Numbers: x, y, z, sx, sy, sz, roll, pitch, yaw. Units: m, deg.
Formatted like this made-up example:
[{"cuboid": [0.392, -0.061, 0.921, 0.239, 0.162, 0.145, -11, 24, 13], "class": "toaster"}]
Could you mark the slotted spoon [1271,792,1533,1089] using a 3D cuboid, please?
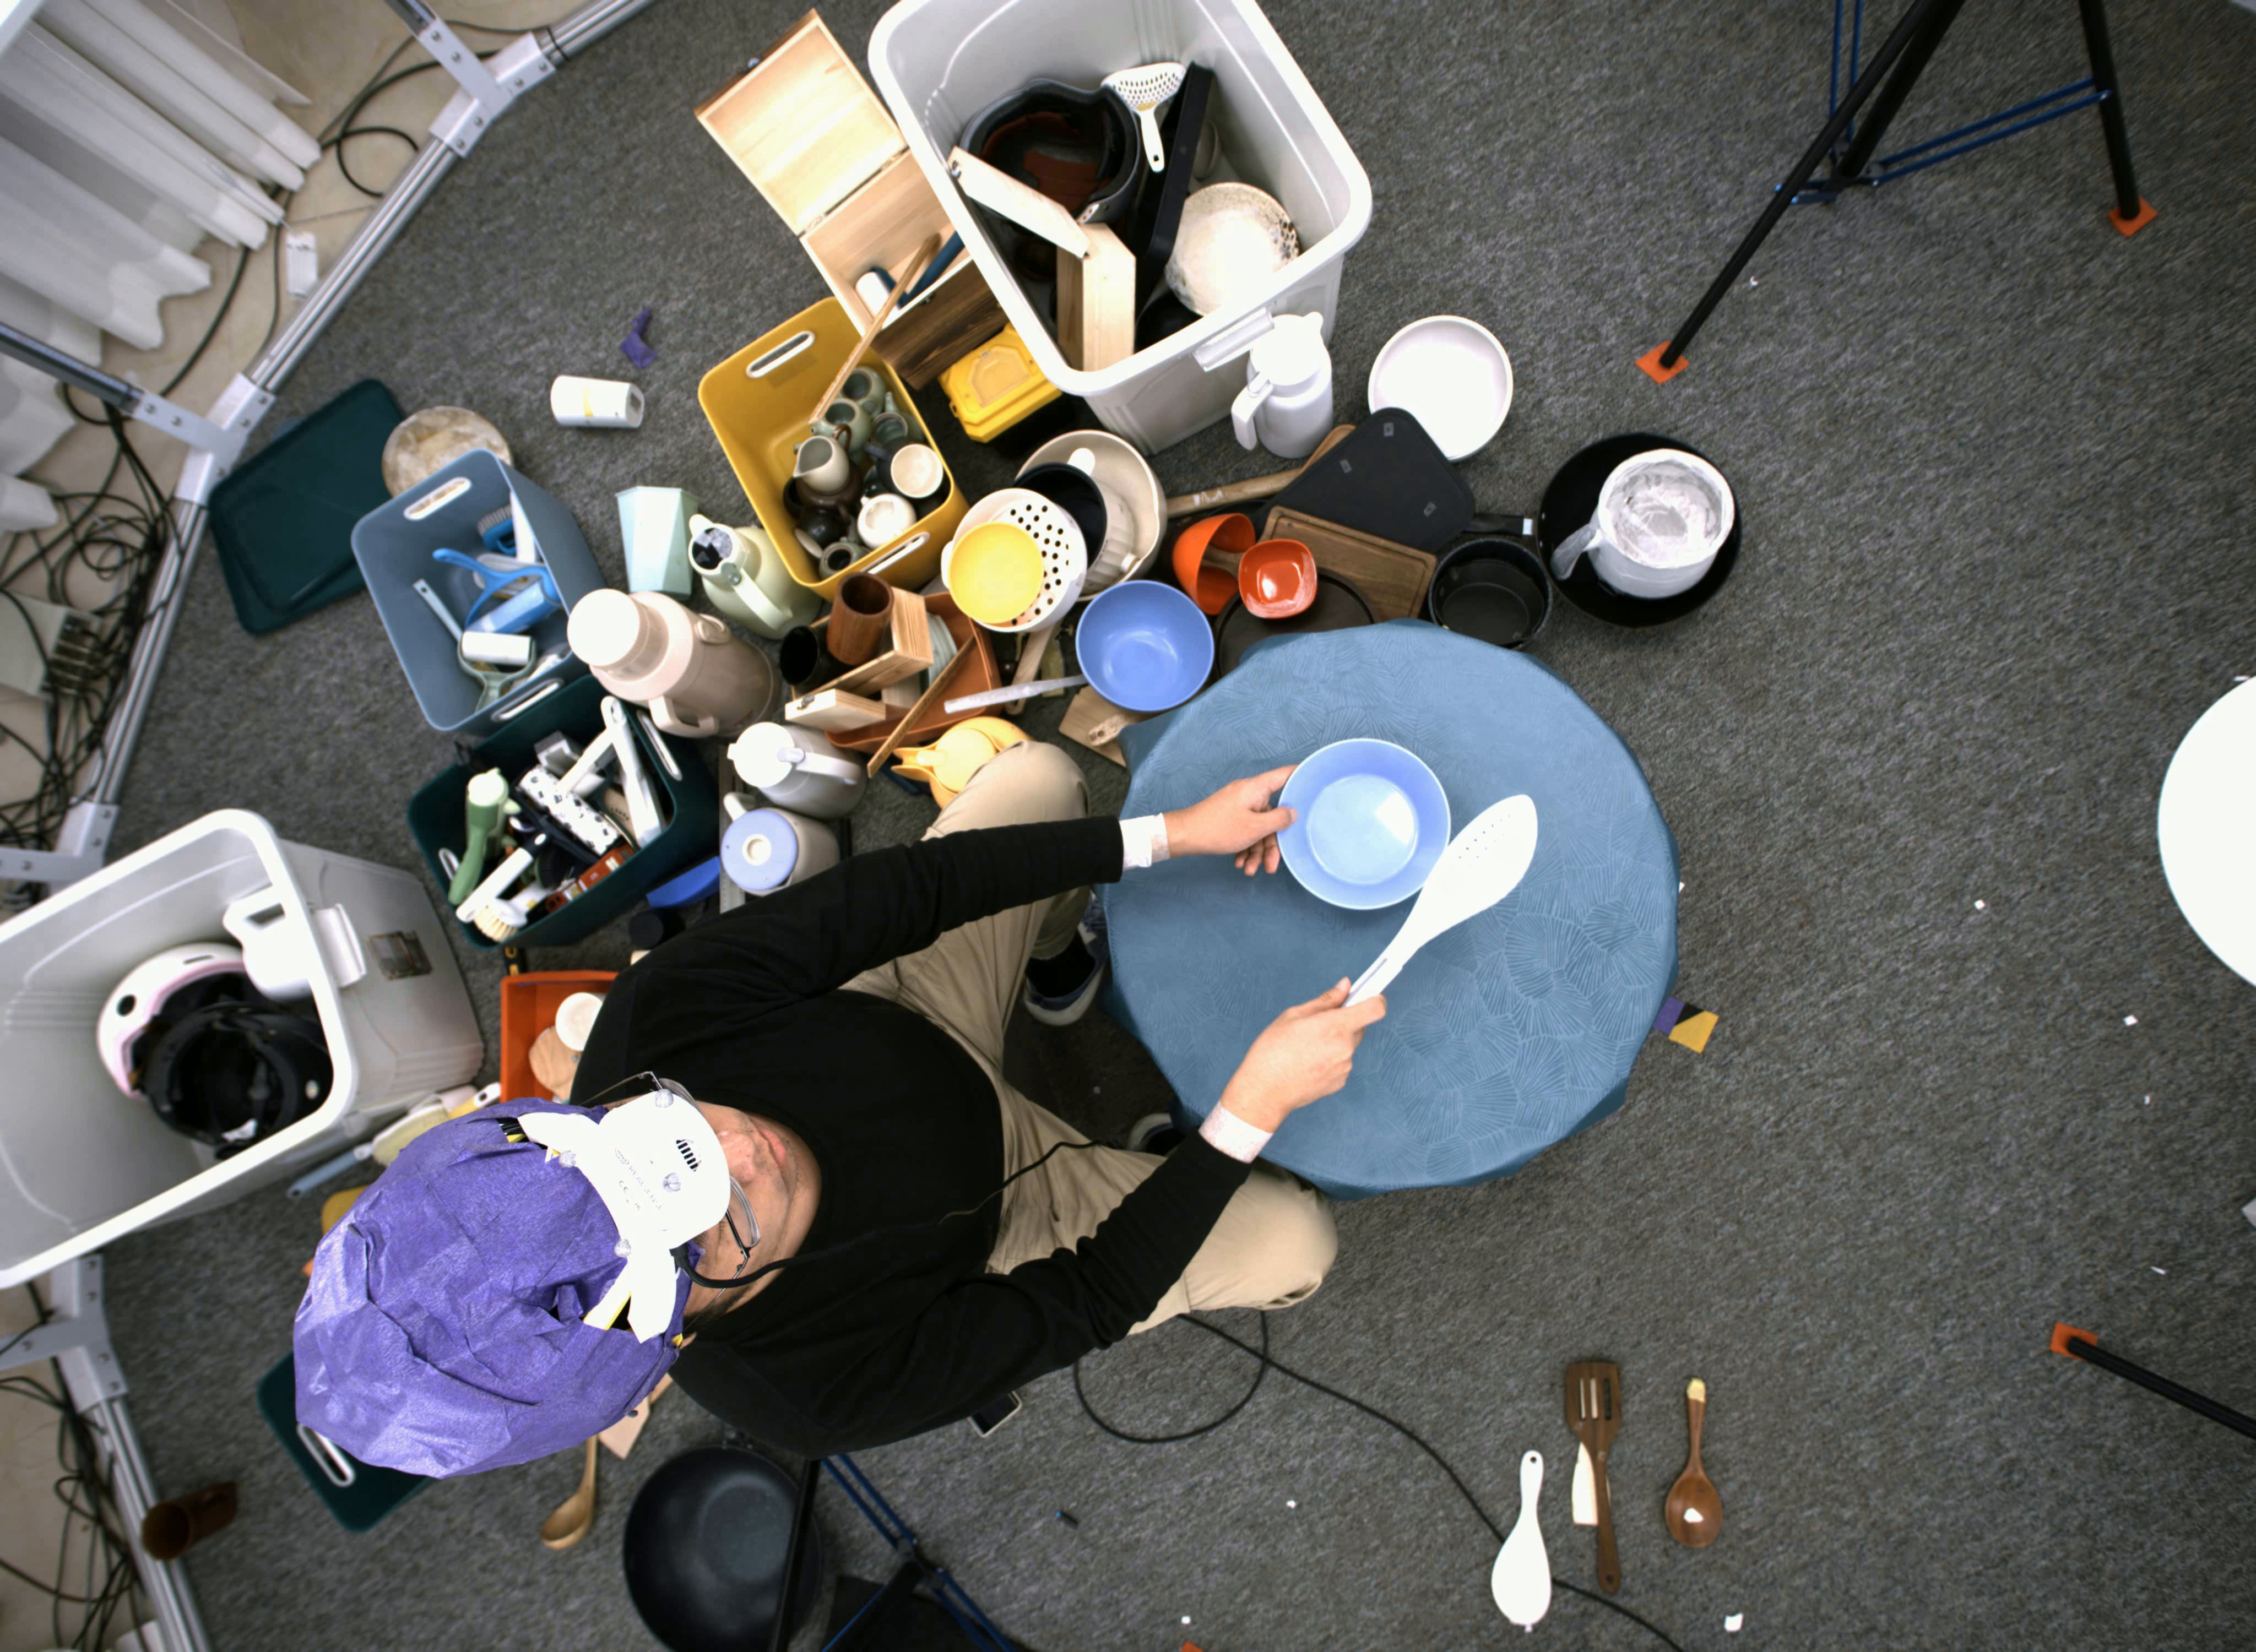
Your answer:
[{"cuboid": [0.250, 0.107, 1.262, 0.046, 0.134, 0.352, 43, 99, -8], "class": "slotted spoon"}]

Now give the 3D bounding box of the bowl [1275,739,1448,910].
[{"cuboid": [0.242, 0.000, 1.434, 0.177, 0.070, 0.175, -1, 87, 11], "class": "bowl"}]
